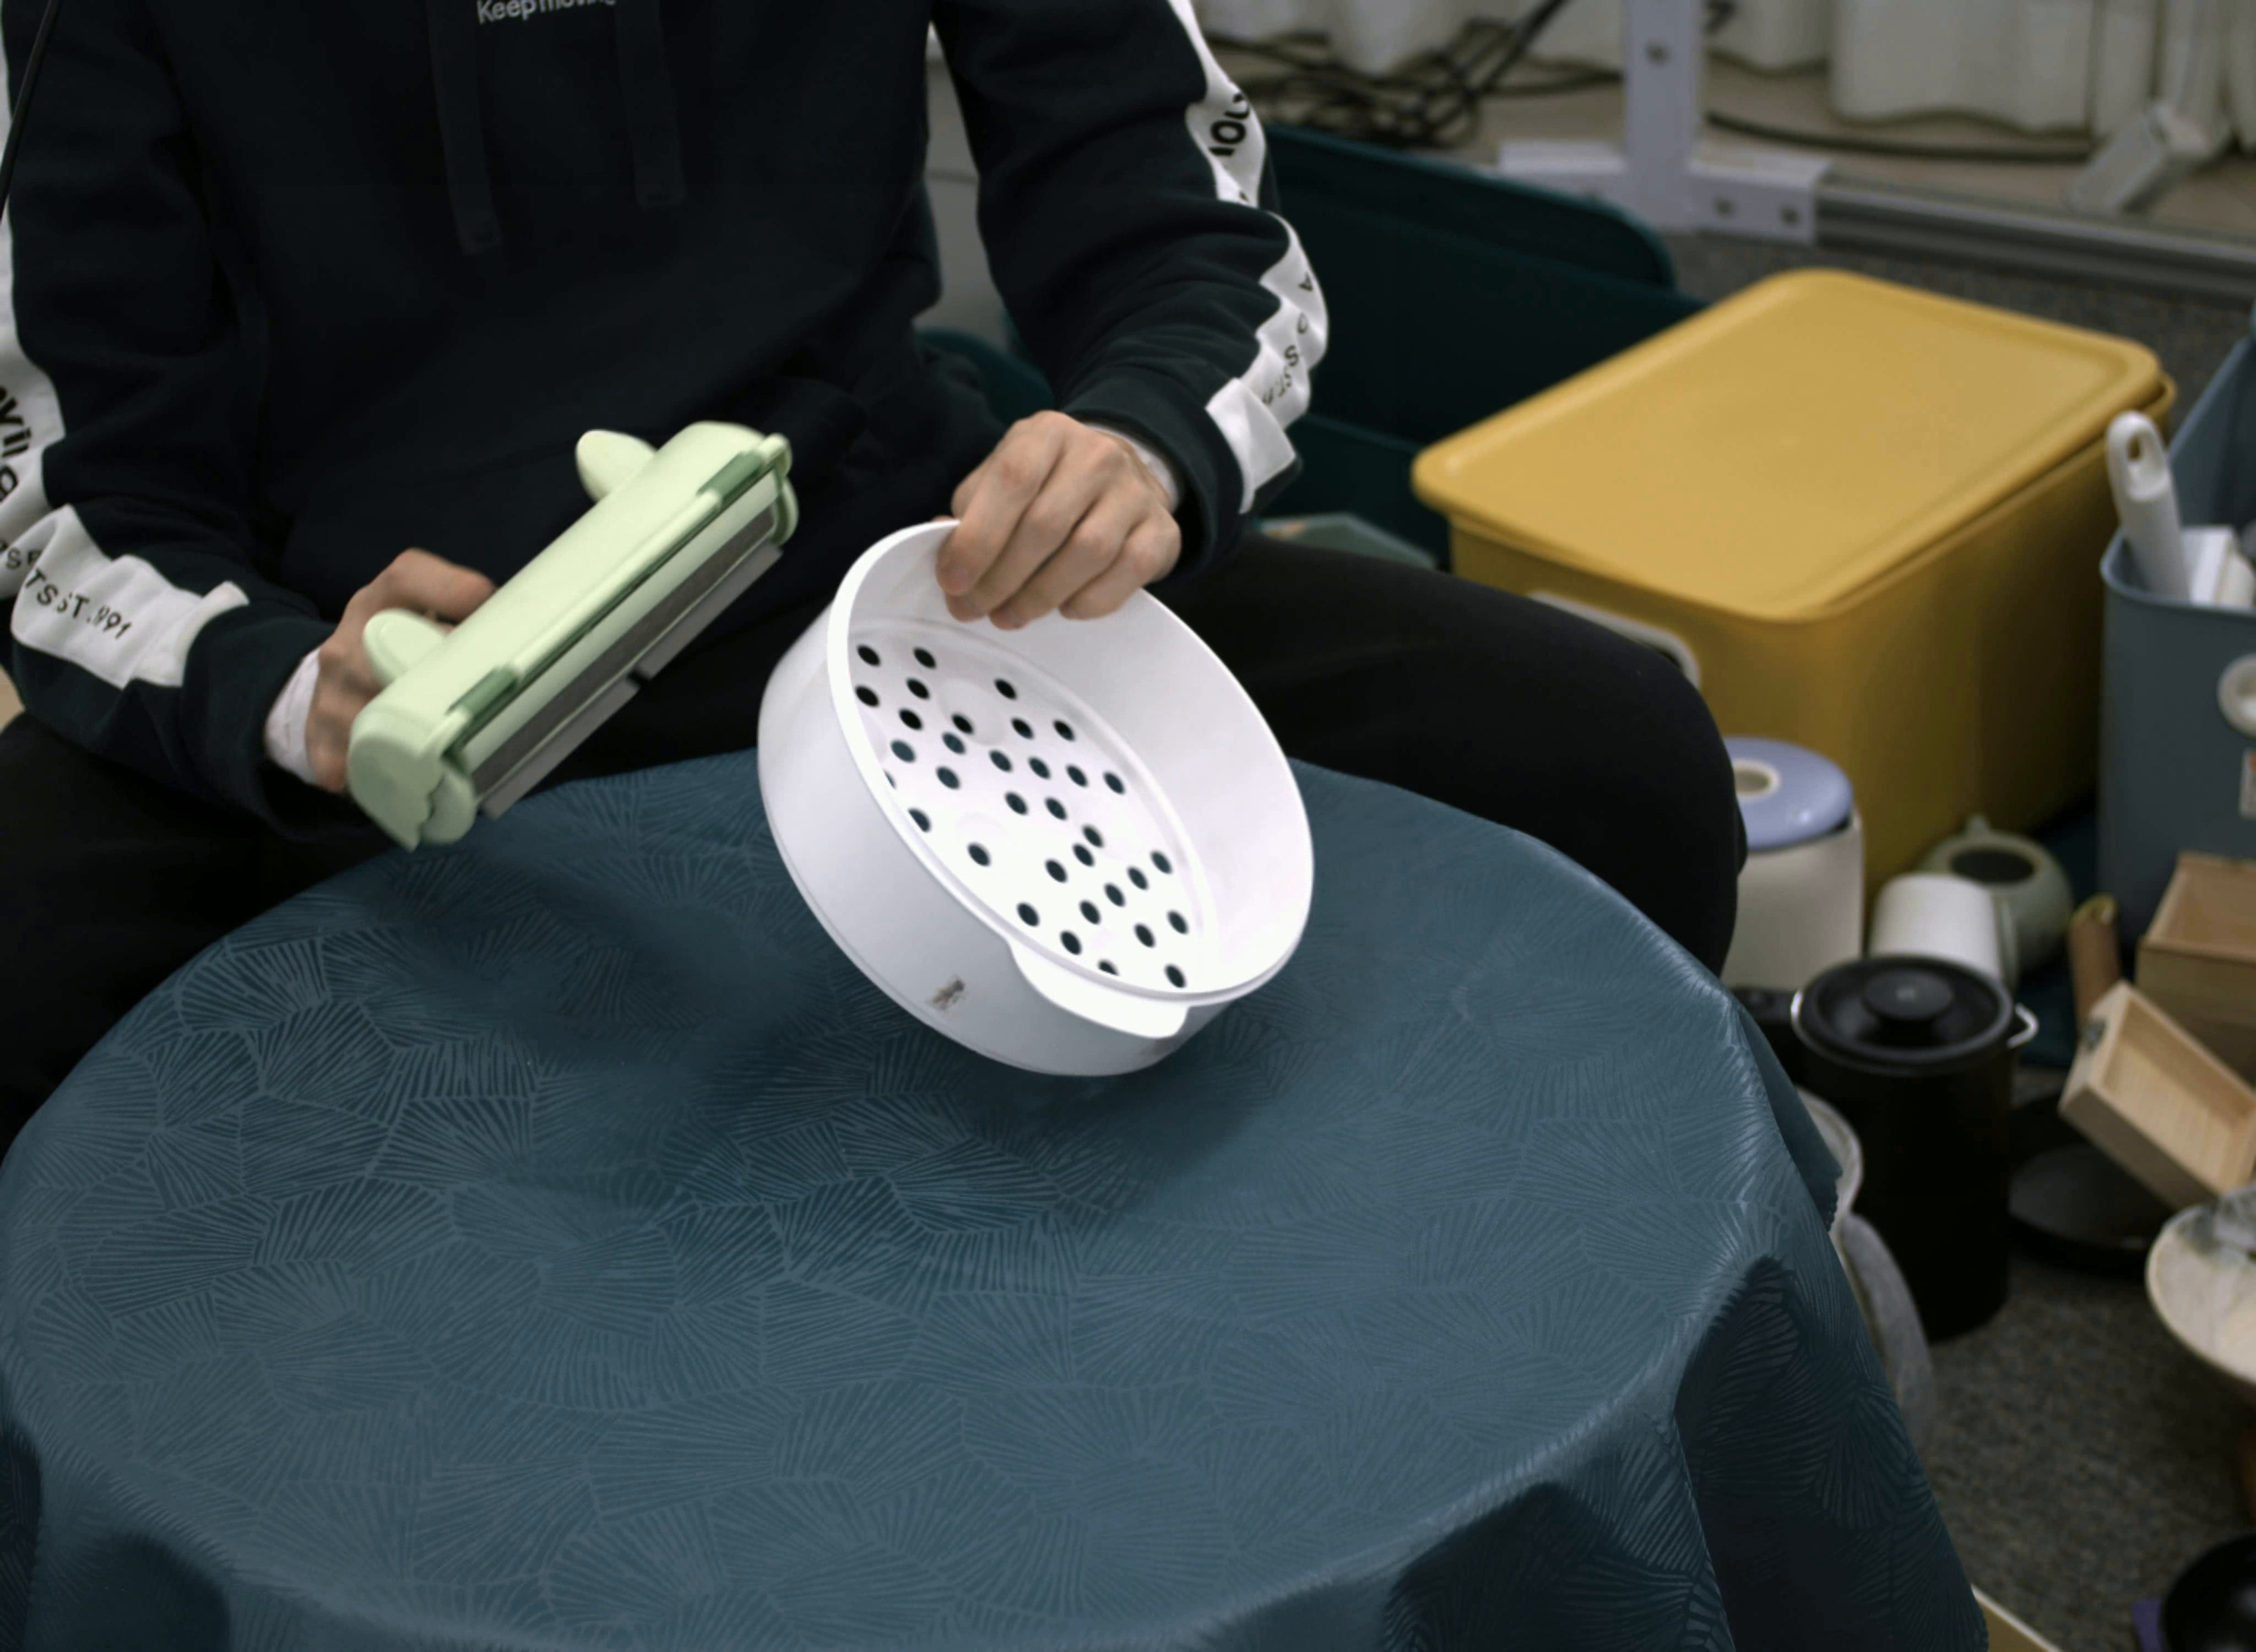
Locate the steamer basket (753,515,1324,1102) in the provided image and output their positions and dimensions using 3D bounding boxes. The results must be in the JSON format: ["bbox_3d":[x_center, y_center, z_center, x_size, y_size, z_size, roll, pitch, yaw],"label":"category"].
[{"bbox_3d":[-0.031,-0.001,1.926,0.201,0.068,0.235,20,43,-28],"label":"steamer basket"}]

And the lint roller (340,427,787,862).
[{"bbox_3d":[-0.228,-0.061,1.961,0.181,0.082,0.202,-15,24,49],"label":"lint roller"}]
